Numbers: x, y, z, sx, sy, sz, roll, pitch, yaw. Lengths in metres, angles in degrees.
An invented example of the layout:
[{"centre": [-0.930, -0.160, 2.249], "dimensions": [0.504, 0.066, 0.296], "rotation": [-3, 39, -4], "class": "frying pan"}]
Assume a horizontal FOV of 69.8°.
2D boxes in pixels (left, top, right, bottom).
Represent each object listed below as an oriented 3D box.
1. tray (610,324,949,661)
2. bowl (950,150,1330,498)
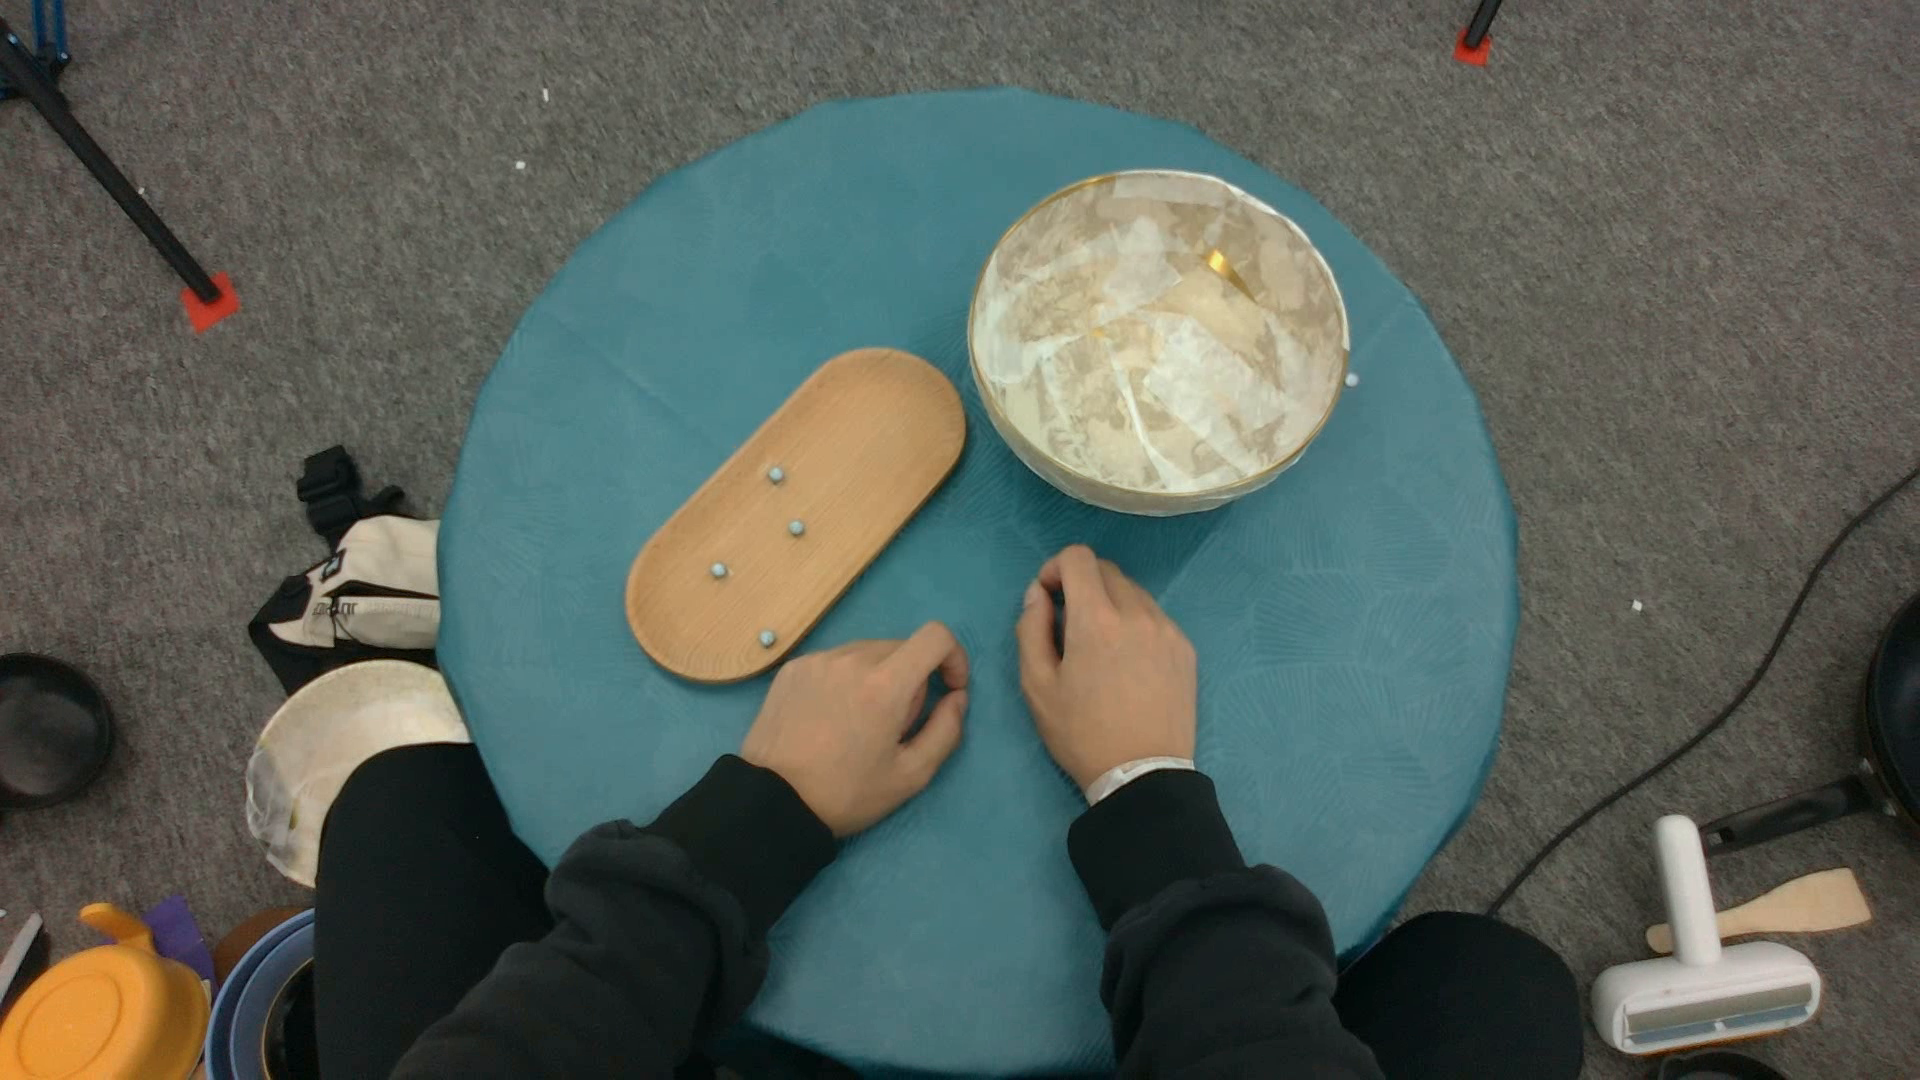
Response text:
[{"centre": [-0.097, -0.030, 0.764], "dimensions": [0.102, 0.020, 0.232], "rotation": [36, 68, 9], "class": "tray"}, {"centre": [0.090, -0.105, 0.764], "dimensions": [0.215, 0.094, 0.215], "rotation": [1, 68, -3], "class": "bowl"}]
